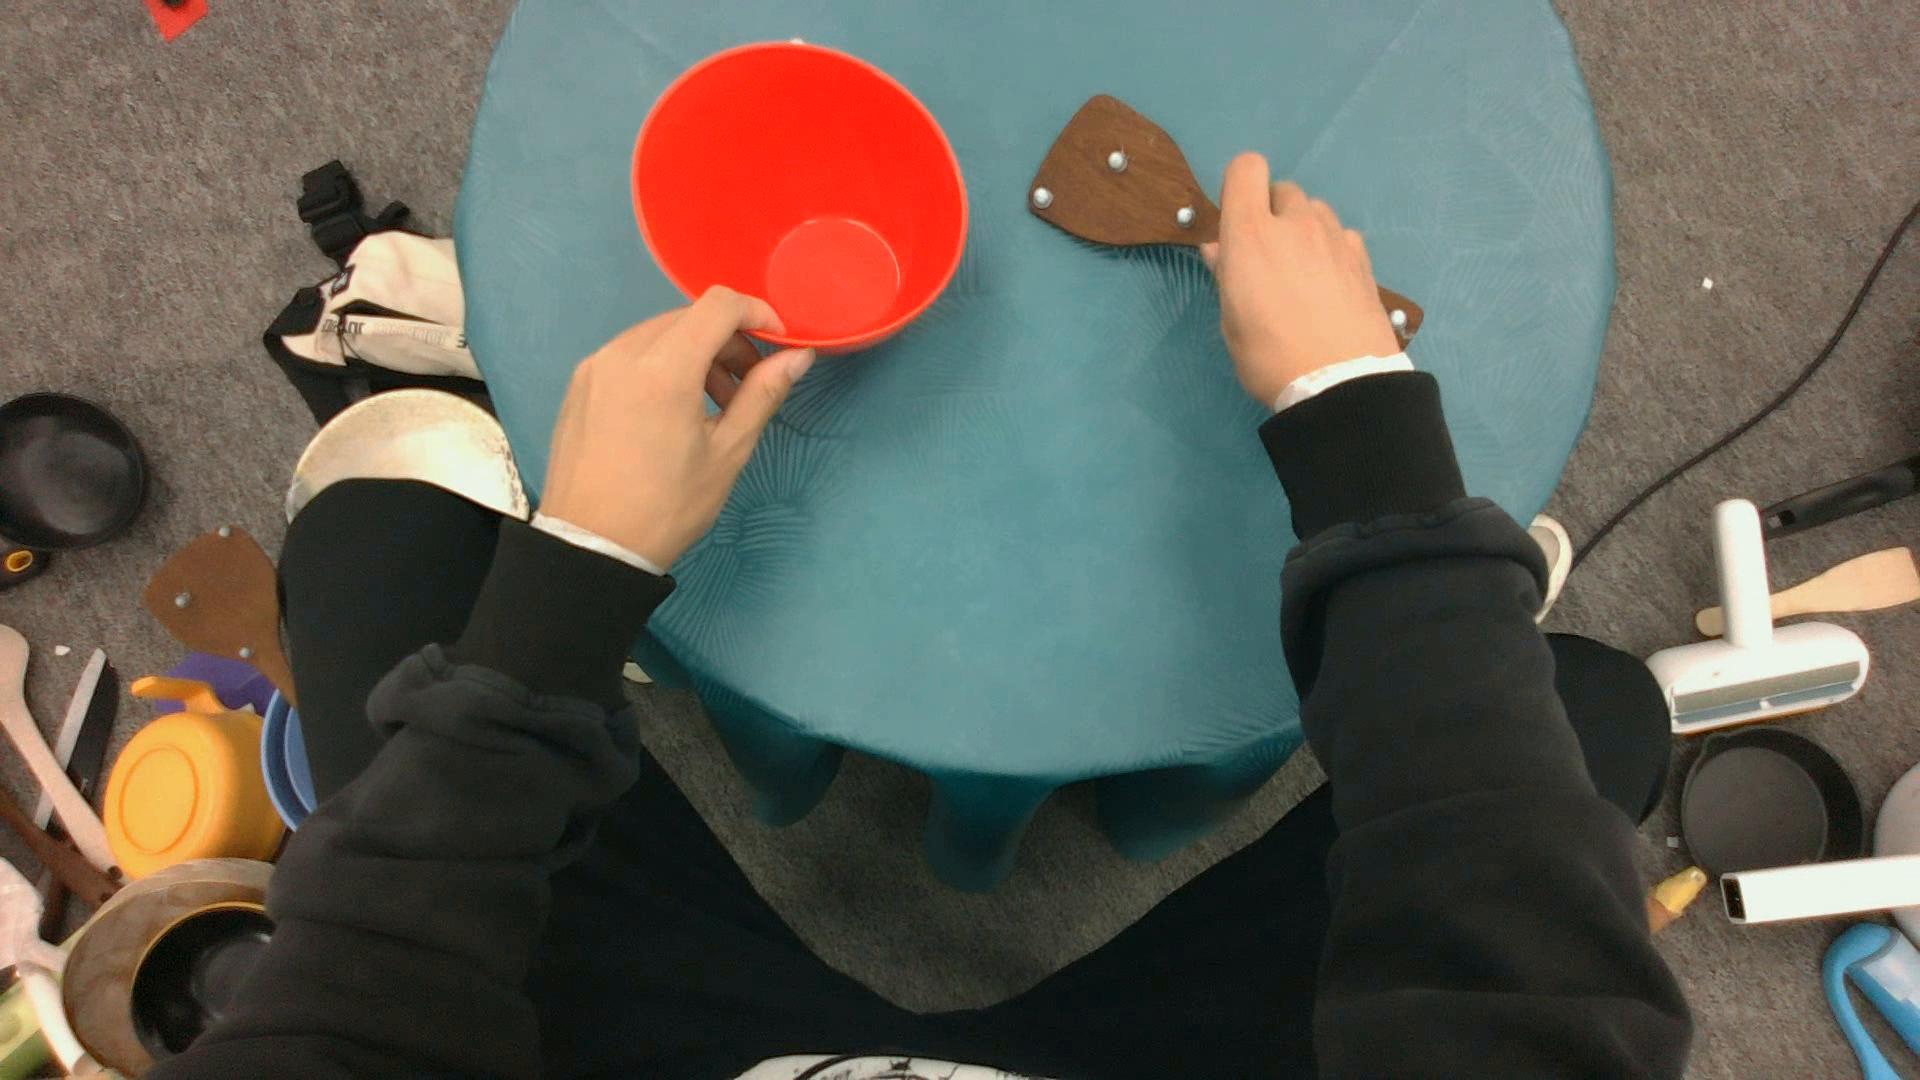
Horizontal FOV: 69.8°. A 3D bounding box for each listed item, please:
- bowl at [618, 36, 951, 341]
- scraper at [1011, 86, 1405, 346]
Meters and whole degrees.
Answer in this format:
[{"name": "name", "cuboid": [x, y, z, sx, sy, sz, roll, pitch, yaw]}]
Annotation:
[{"name": "bowl", "cuboid": [-0.080, -0.152, 0.657, 0.148, 0.104, 0.148, 1, 74, -4]}, {"name": "scraper", "cuboid": [0.125, -0.156, 0.692, 0.211, 0.011, 0.076, 33, 87, 18]}]
